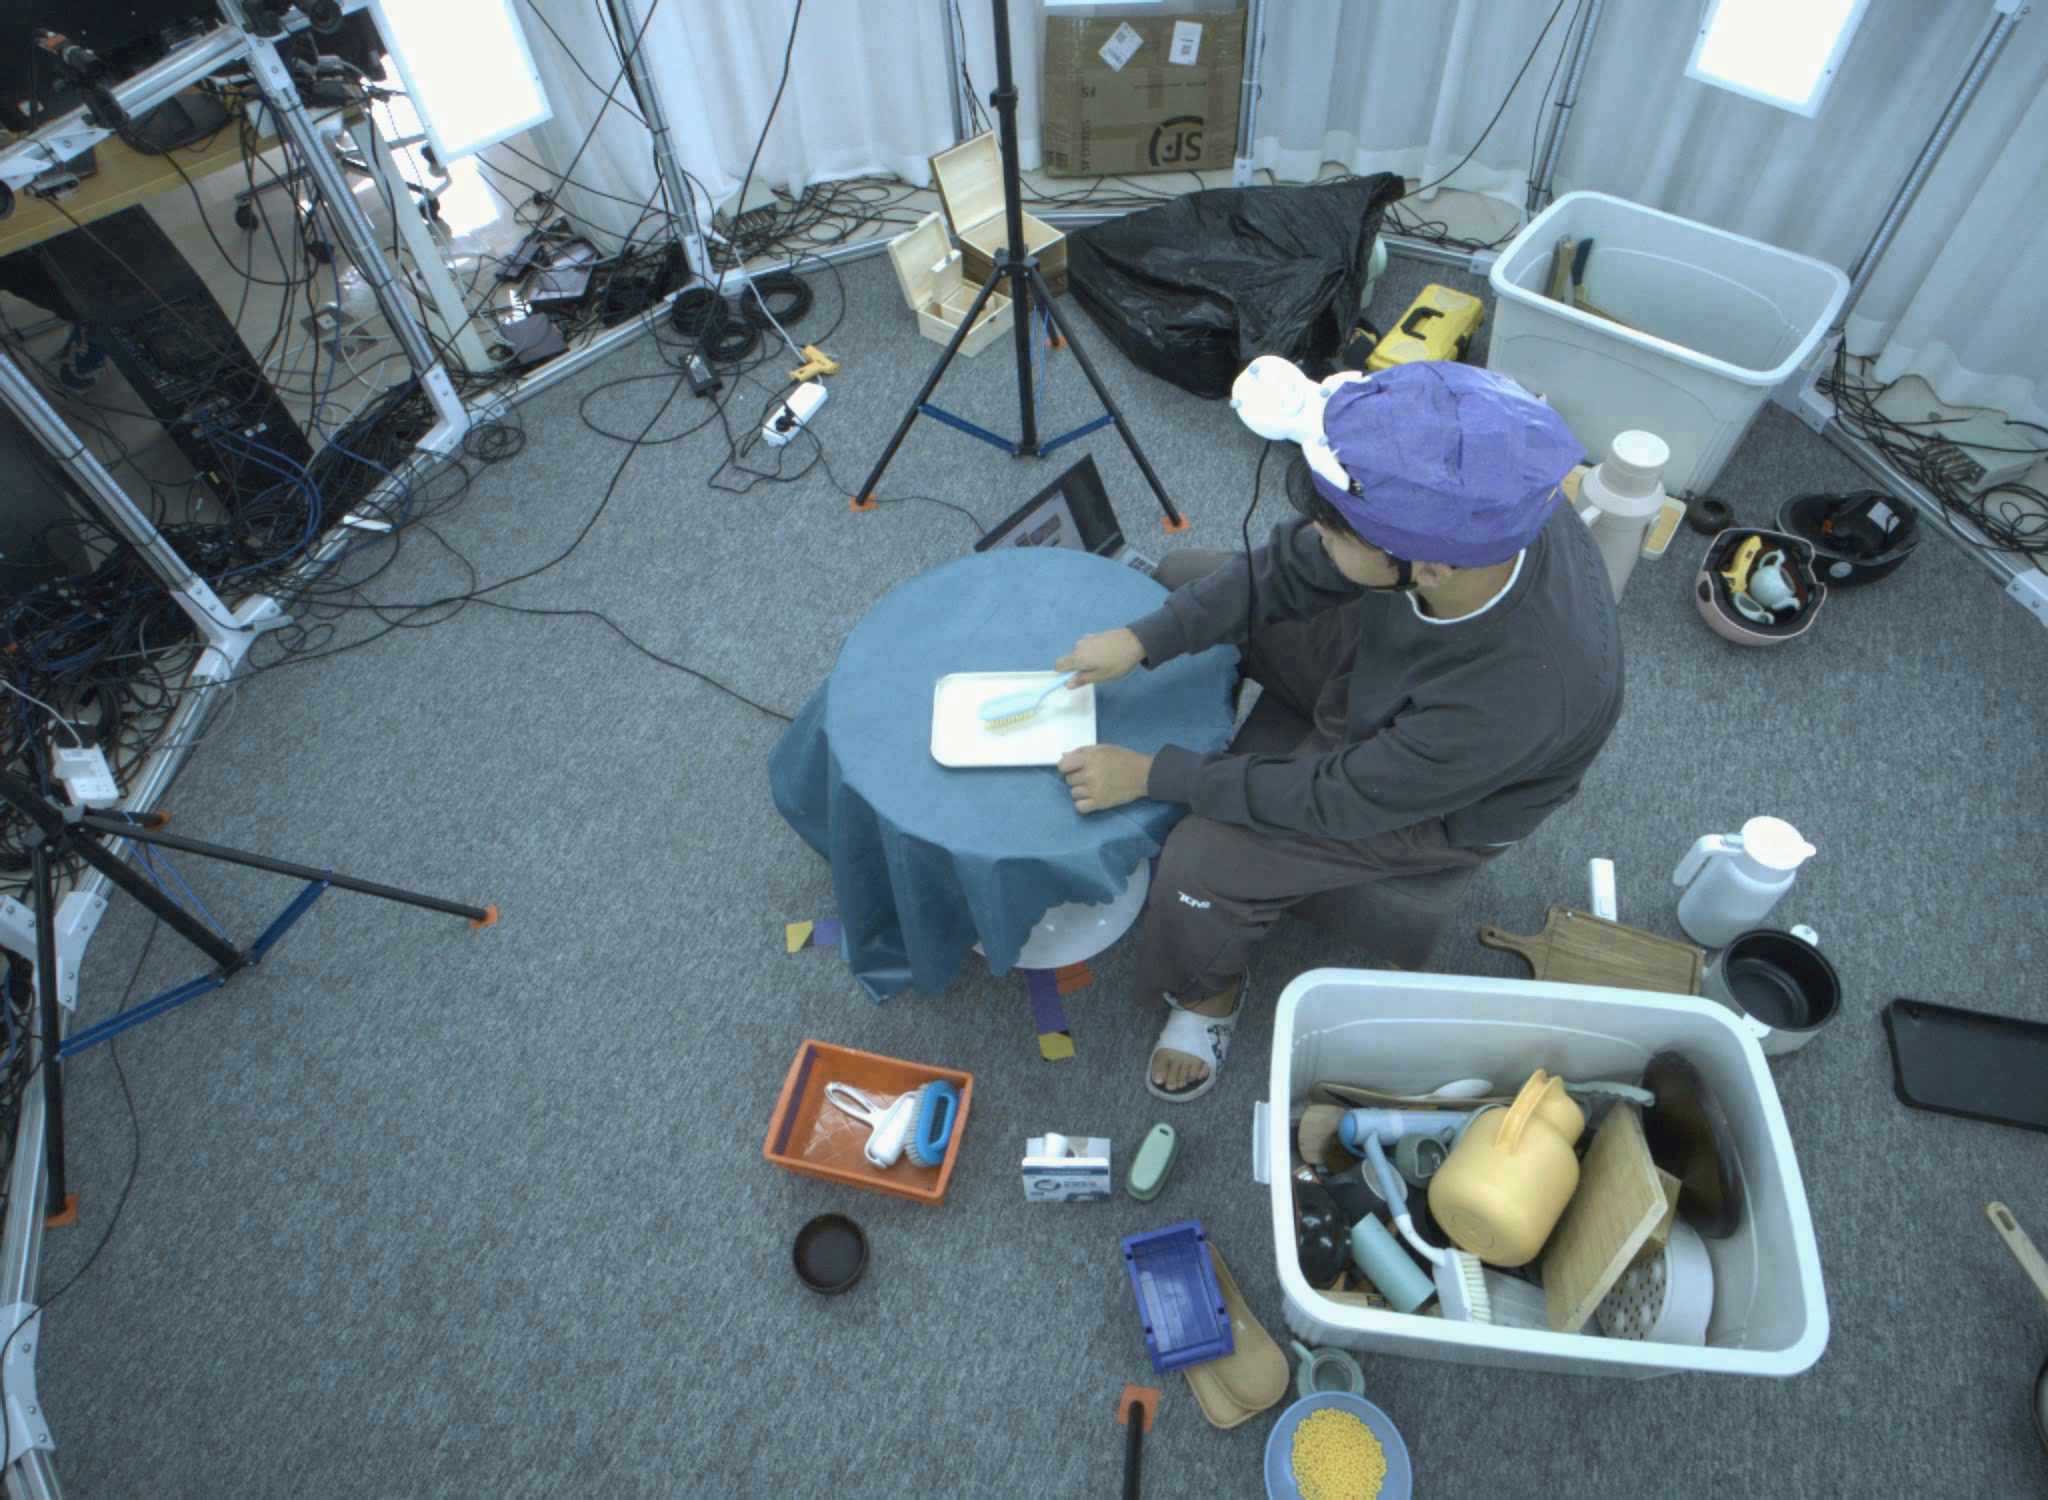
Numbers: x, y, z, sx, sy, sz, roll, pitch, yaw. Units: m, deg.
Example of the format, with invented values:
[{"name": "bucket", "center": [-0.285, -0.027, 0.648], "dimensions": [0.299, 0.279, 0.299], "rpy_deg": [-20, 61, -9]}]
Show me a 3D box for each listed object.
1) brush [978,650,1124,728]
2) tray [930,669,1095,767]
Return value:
[{"name": "brush", "center": [0.041, -0.092, 1.805], "dimensions": [0.229, 0.050, 0.037], "rpy_deg": [-26, 56, -1]}, {"name": "tray", "center": [-0.016, -0.047, 1.810], "dimensions": [0.239, 0.017, 0.169], "rpy_deg": [-1, 56, 1]}]
